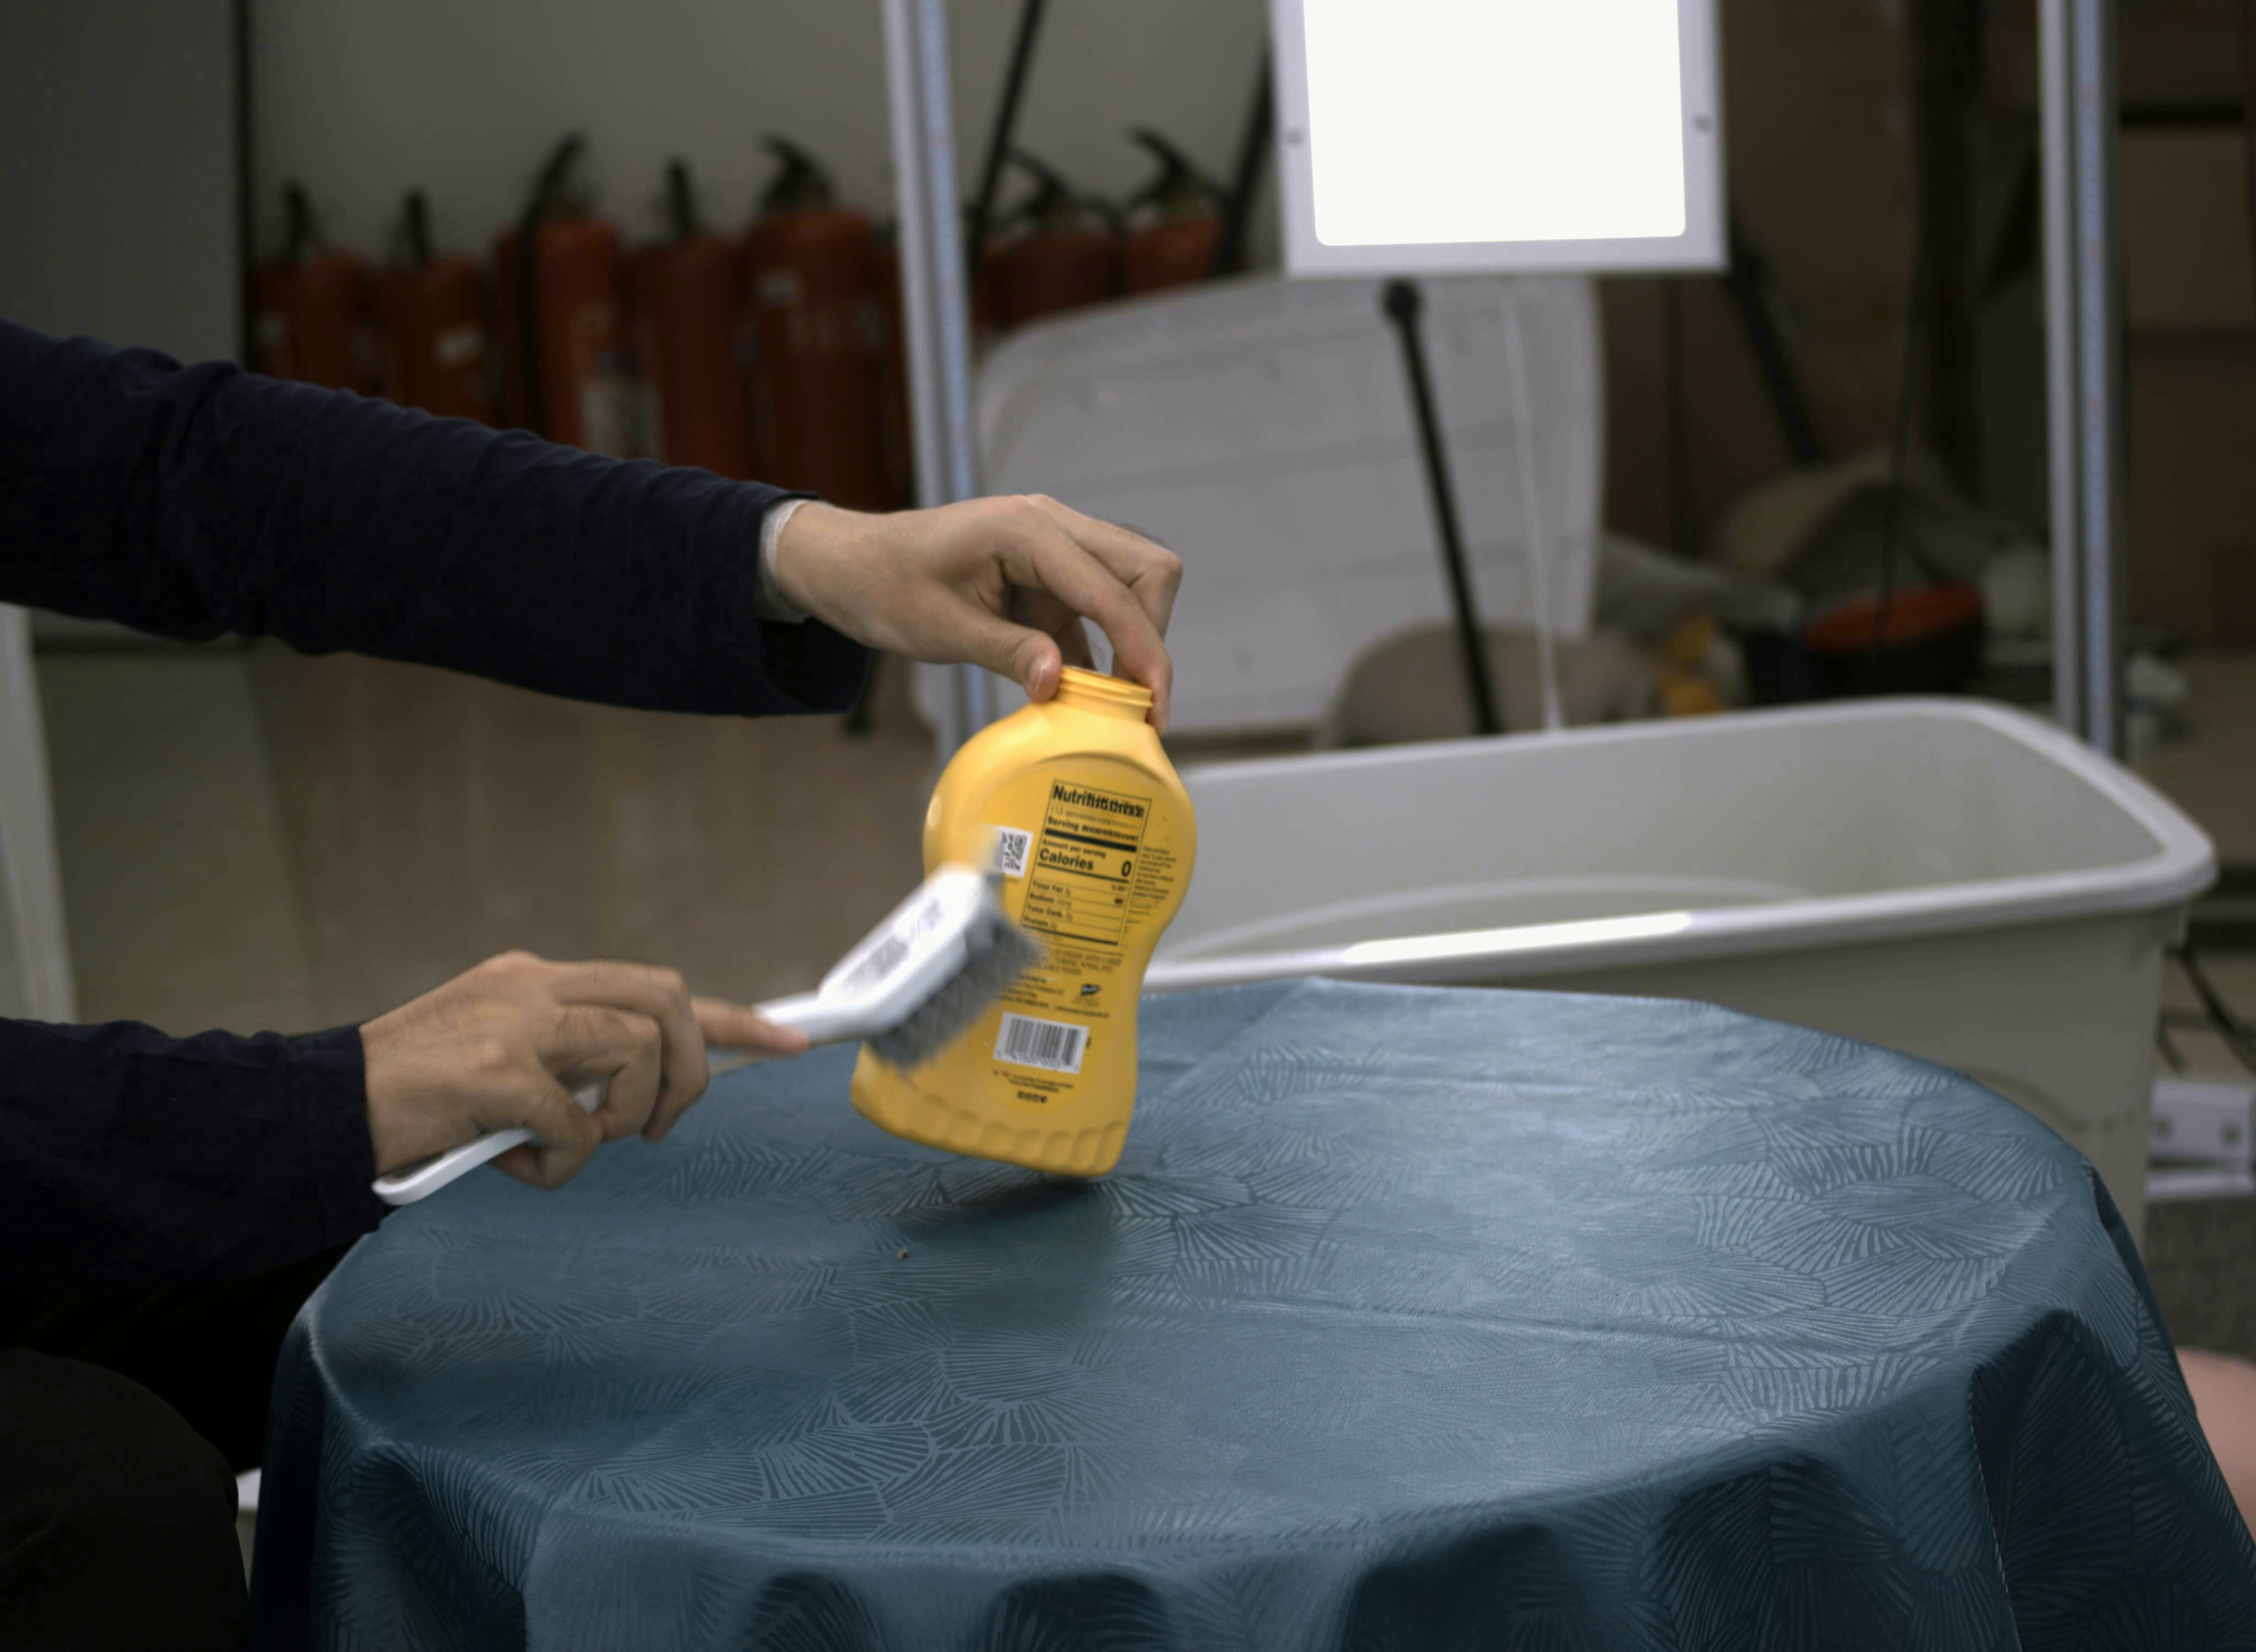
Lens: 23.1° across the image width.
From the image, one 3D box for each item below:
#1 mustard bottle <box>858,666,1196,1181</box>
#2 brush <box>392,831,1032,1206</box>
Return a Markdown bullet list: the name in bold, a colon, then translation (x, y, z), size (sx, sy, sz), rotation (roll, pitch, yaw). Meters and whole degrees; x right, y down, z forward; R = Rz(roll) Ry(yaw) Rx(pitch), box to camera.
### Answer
- **mustard bottle**: translation (-0.030, 0.031, 1.895), size (0.096, 0.172, 0.060), rotation (10, 5, -25)
- **brush**: translation (-0.132, 0.075, 1.793), size (0.239, 0.050, 0.035), rotation (-32, 34, -25)
